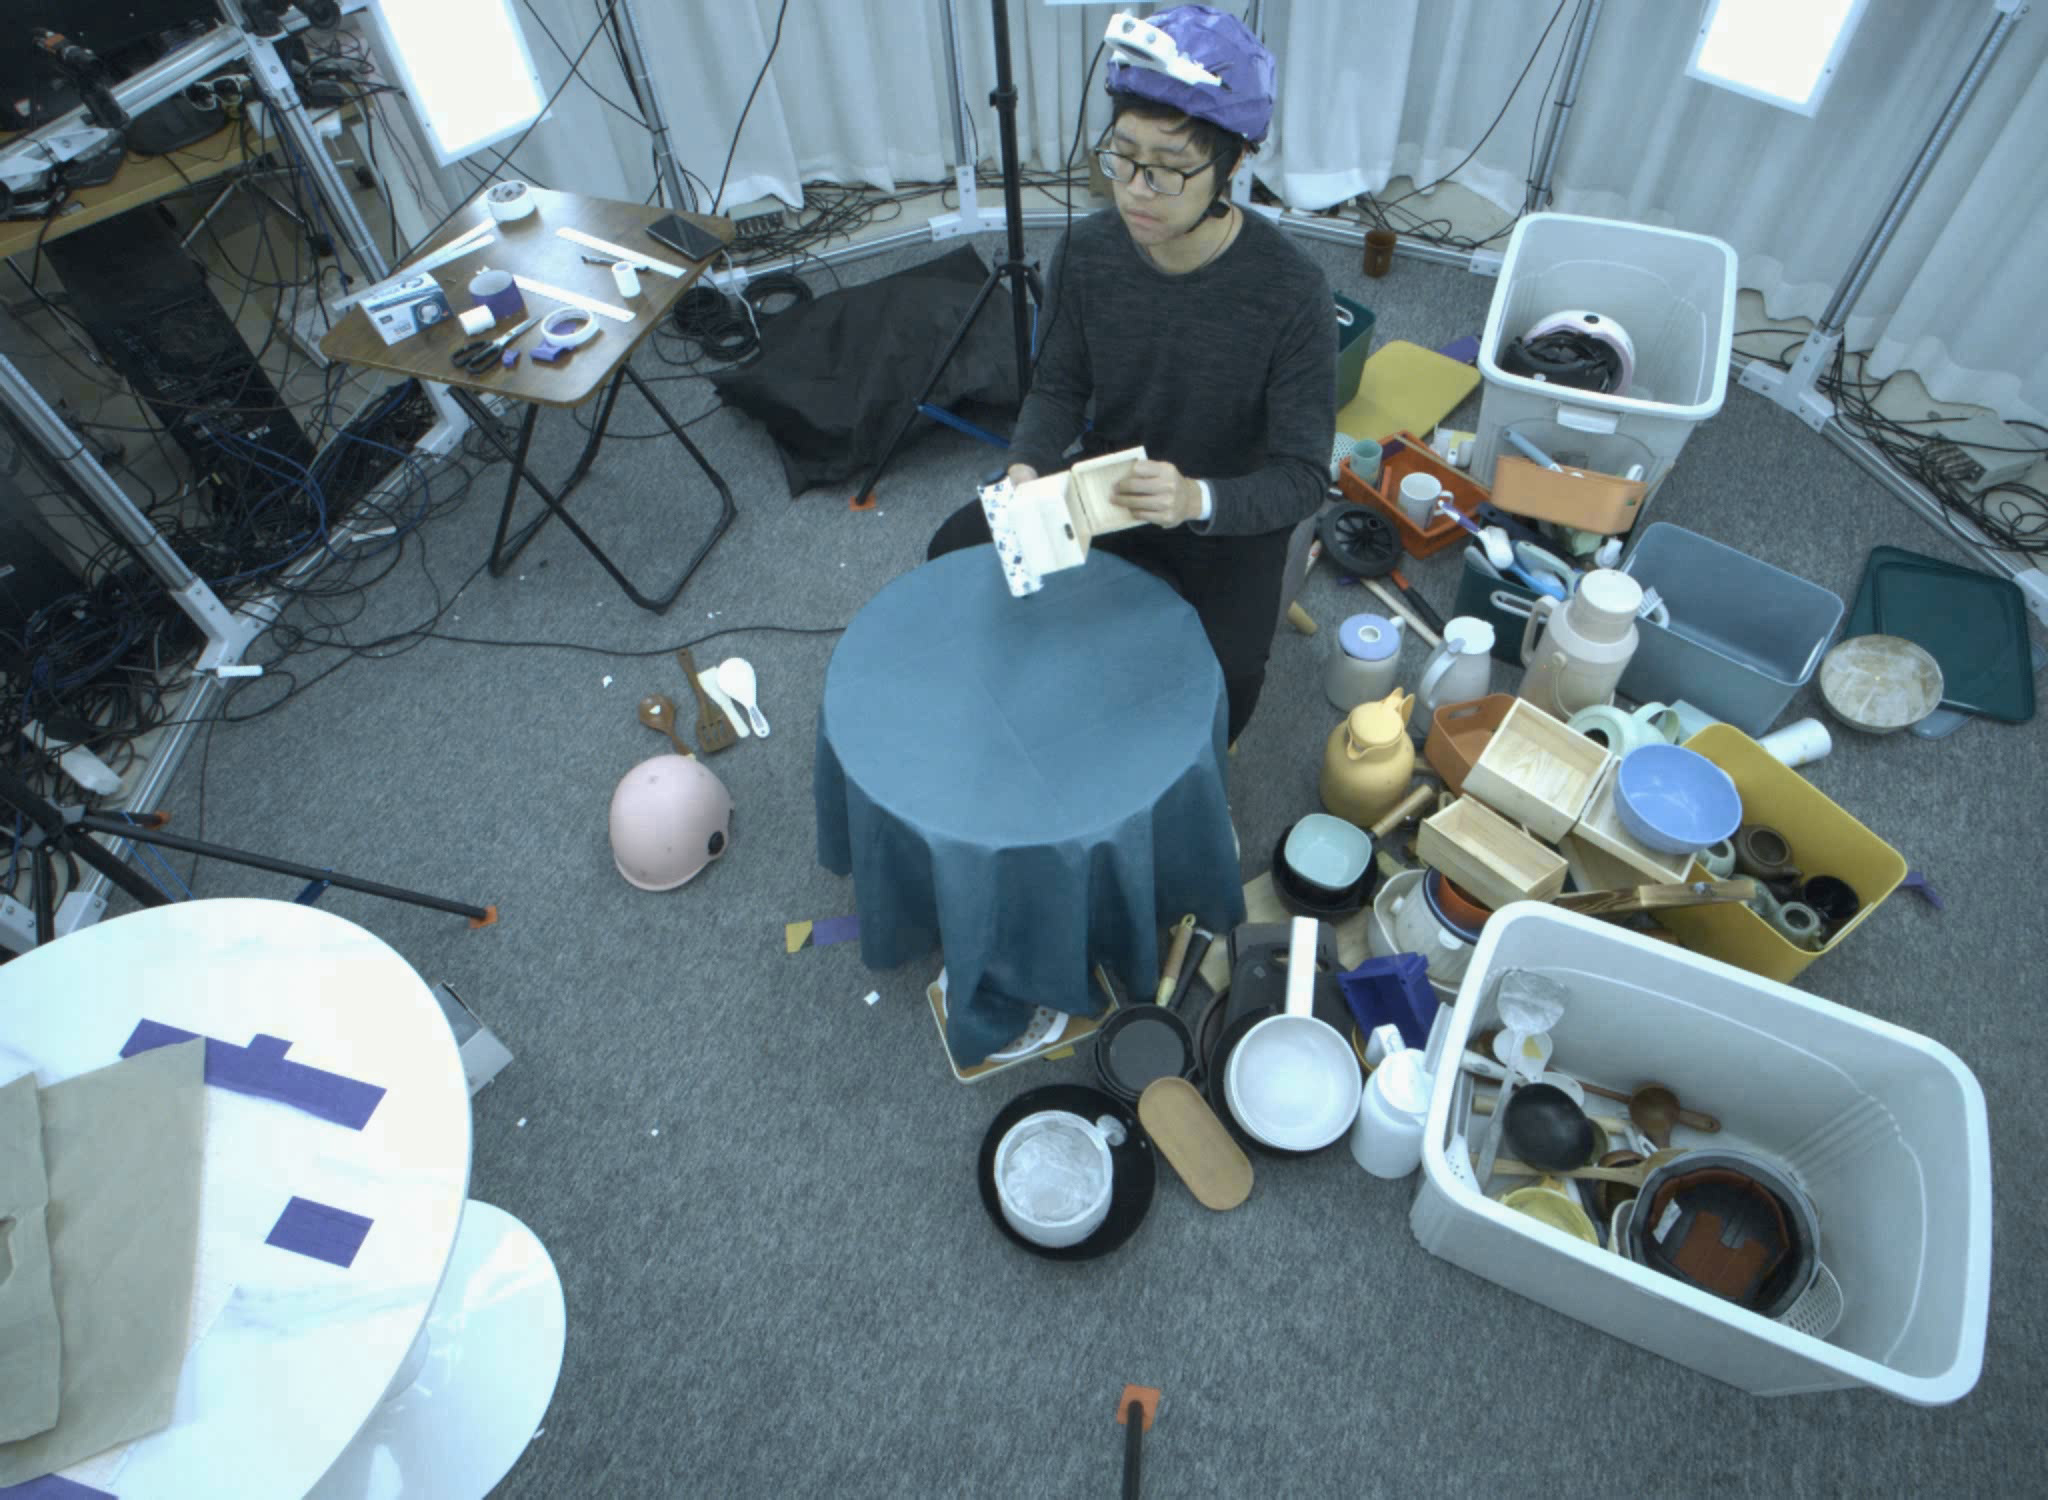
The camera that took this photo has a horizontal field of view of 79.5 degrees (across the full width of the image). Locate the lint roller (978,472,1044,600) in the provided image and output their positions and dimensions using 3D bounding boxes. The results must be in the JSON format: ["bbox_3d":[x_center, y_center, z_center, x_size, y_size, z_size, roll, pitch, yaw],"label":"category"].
[{"bbox_3d":[0.001,-0.338,1.780,0.050,0.178,0.246,-12,24,17],"label":"lint roller"}]

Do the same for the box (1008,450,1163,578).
[{"bbox_3d":[0.086,-0.320,1.656,0.183,0.104,0.133,-12,29,14],"label":"box"}]
